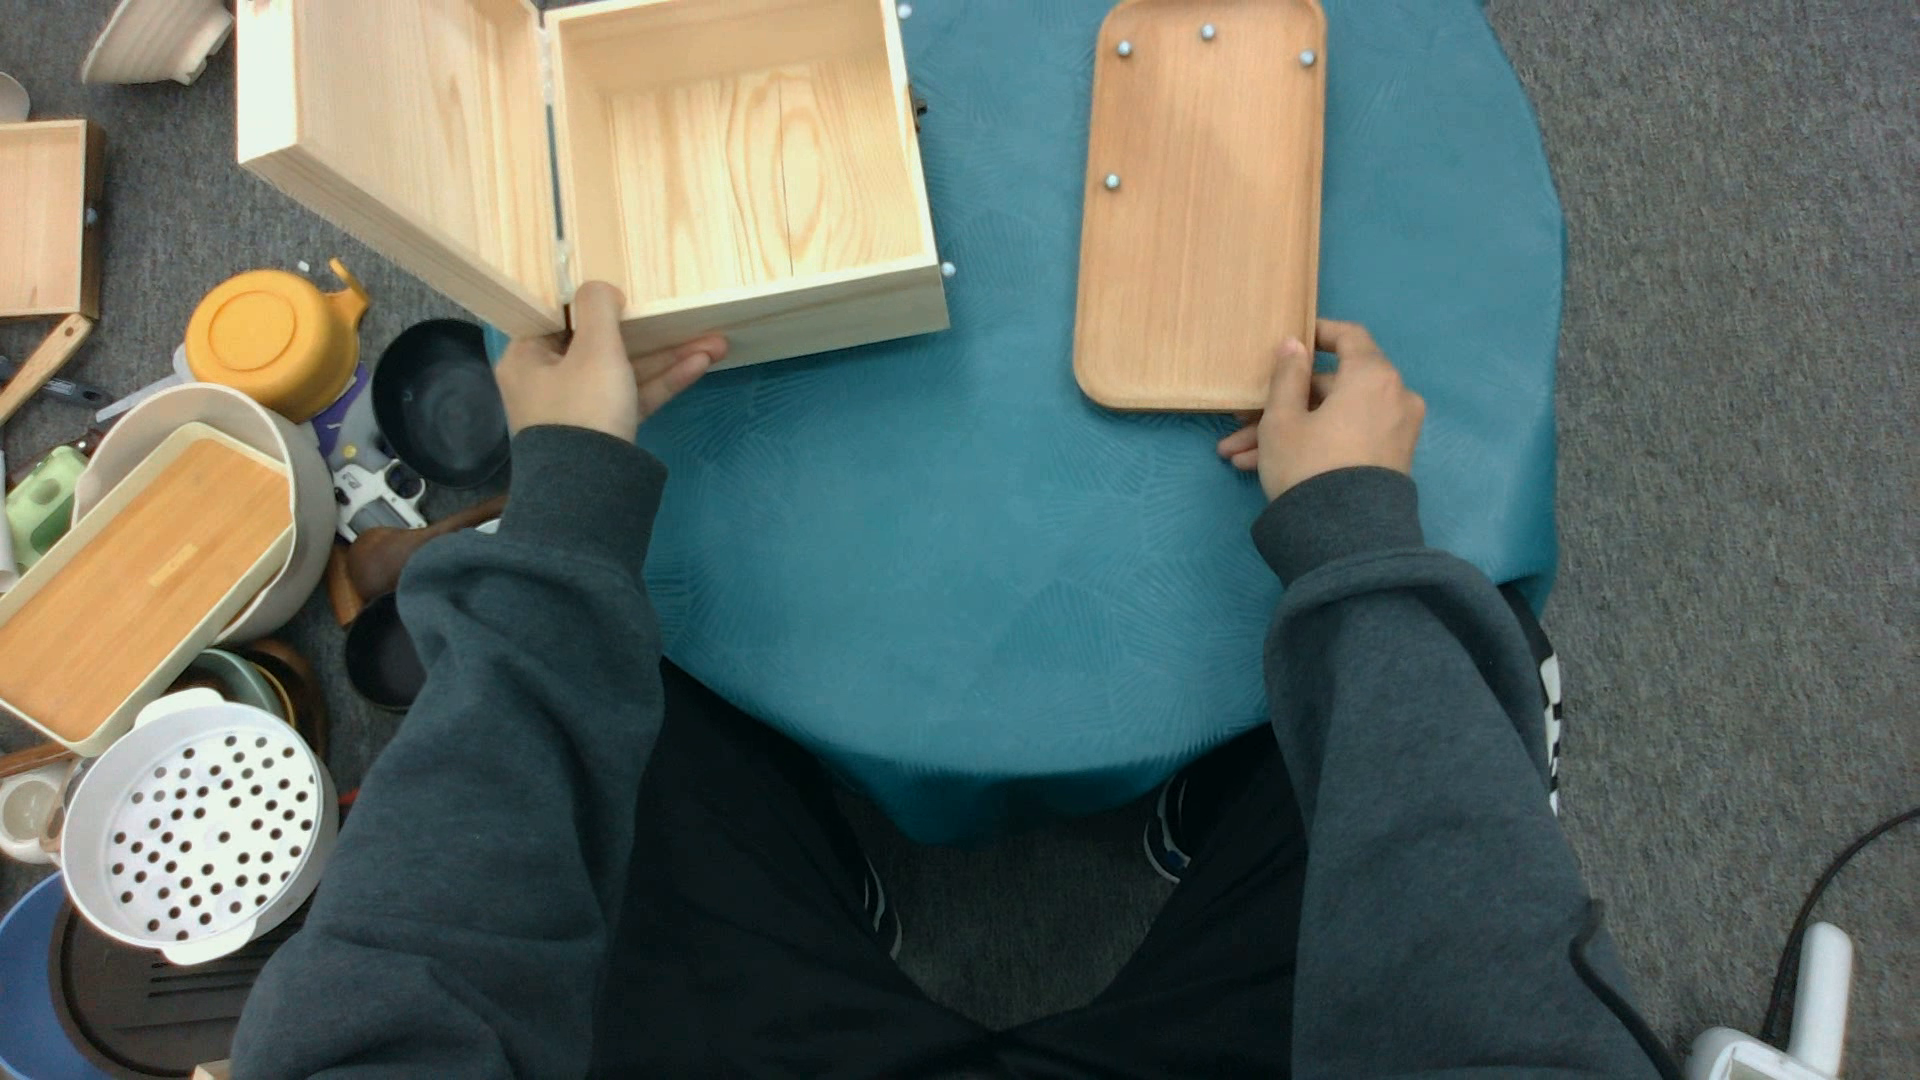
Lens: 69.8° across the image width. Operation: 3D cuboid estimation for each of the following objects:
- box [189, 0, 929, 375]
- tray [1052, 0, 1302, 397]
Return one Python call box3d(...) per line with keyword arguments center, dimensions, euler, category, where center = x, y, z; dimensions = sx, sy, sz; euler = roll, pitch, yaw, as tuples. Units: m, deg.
box3d(center=(-0.163, -0.213, 0.646), dimensions=(0.265, 0.253, 0.182), euler=(-11, 76, 1), category="box")
box3d(center=(0.121, -0.196, 0.756), dimensions=(0.130, 0.023, 0.251), euler=(1, 76, 15), category="tray")
